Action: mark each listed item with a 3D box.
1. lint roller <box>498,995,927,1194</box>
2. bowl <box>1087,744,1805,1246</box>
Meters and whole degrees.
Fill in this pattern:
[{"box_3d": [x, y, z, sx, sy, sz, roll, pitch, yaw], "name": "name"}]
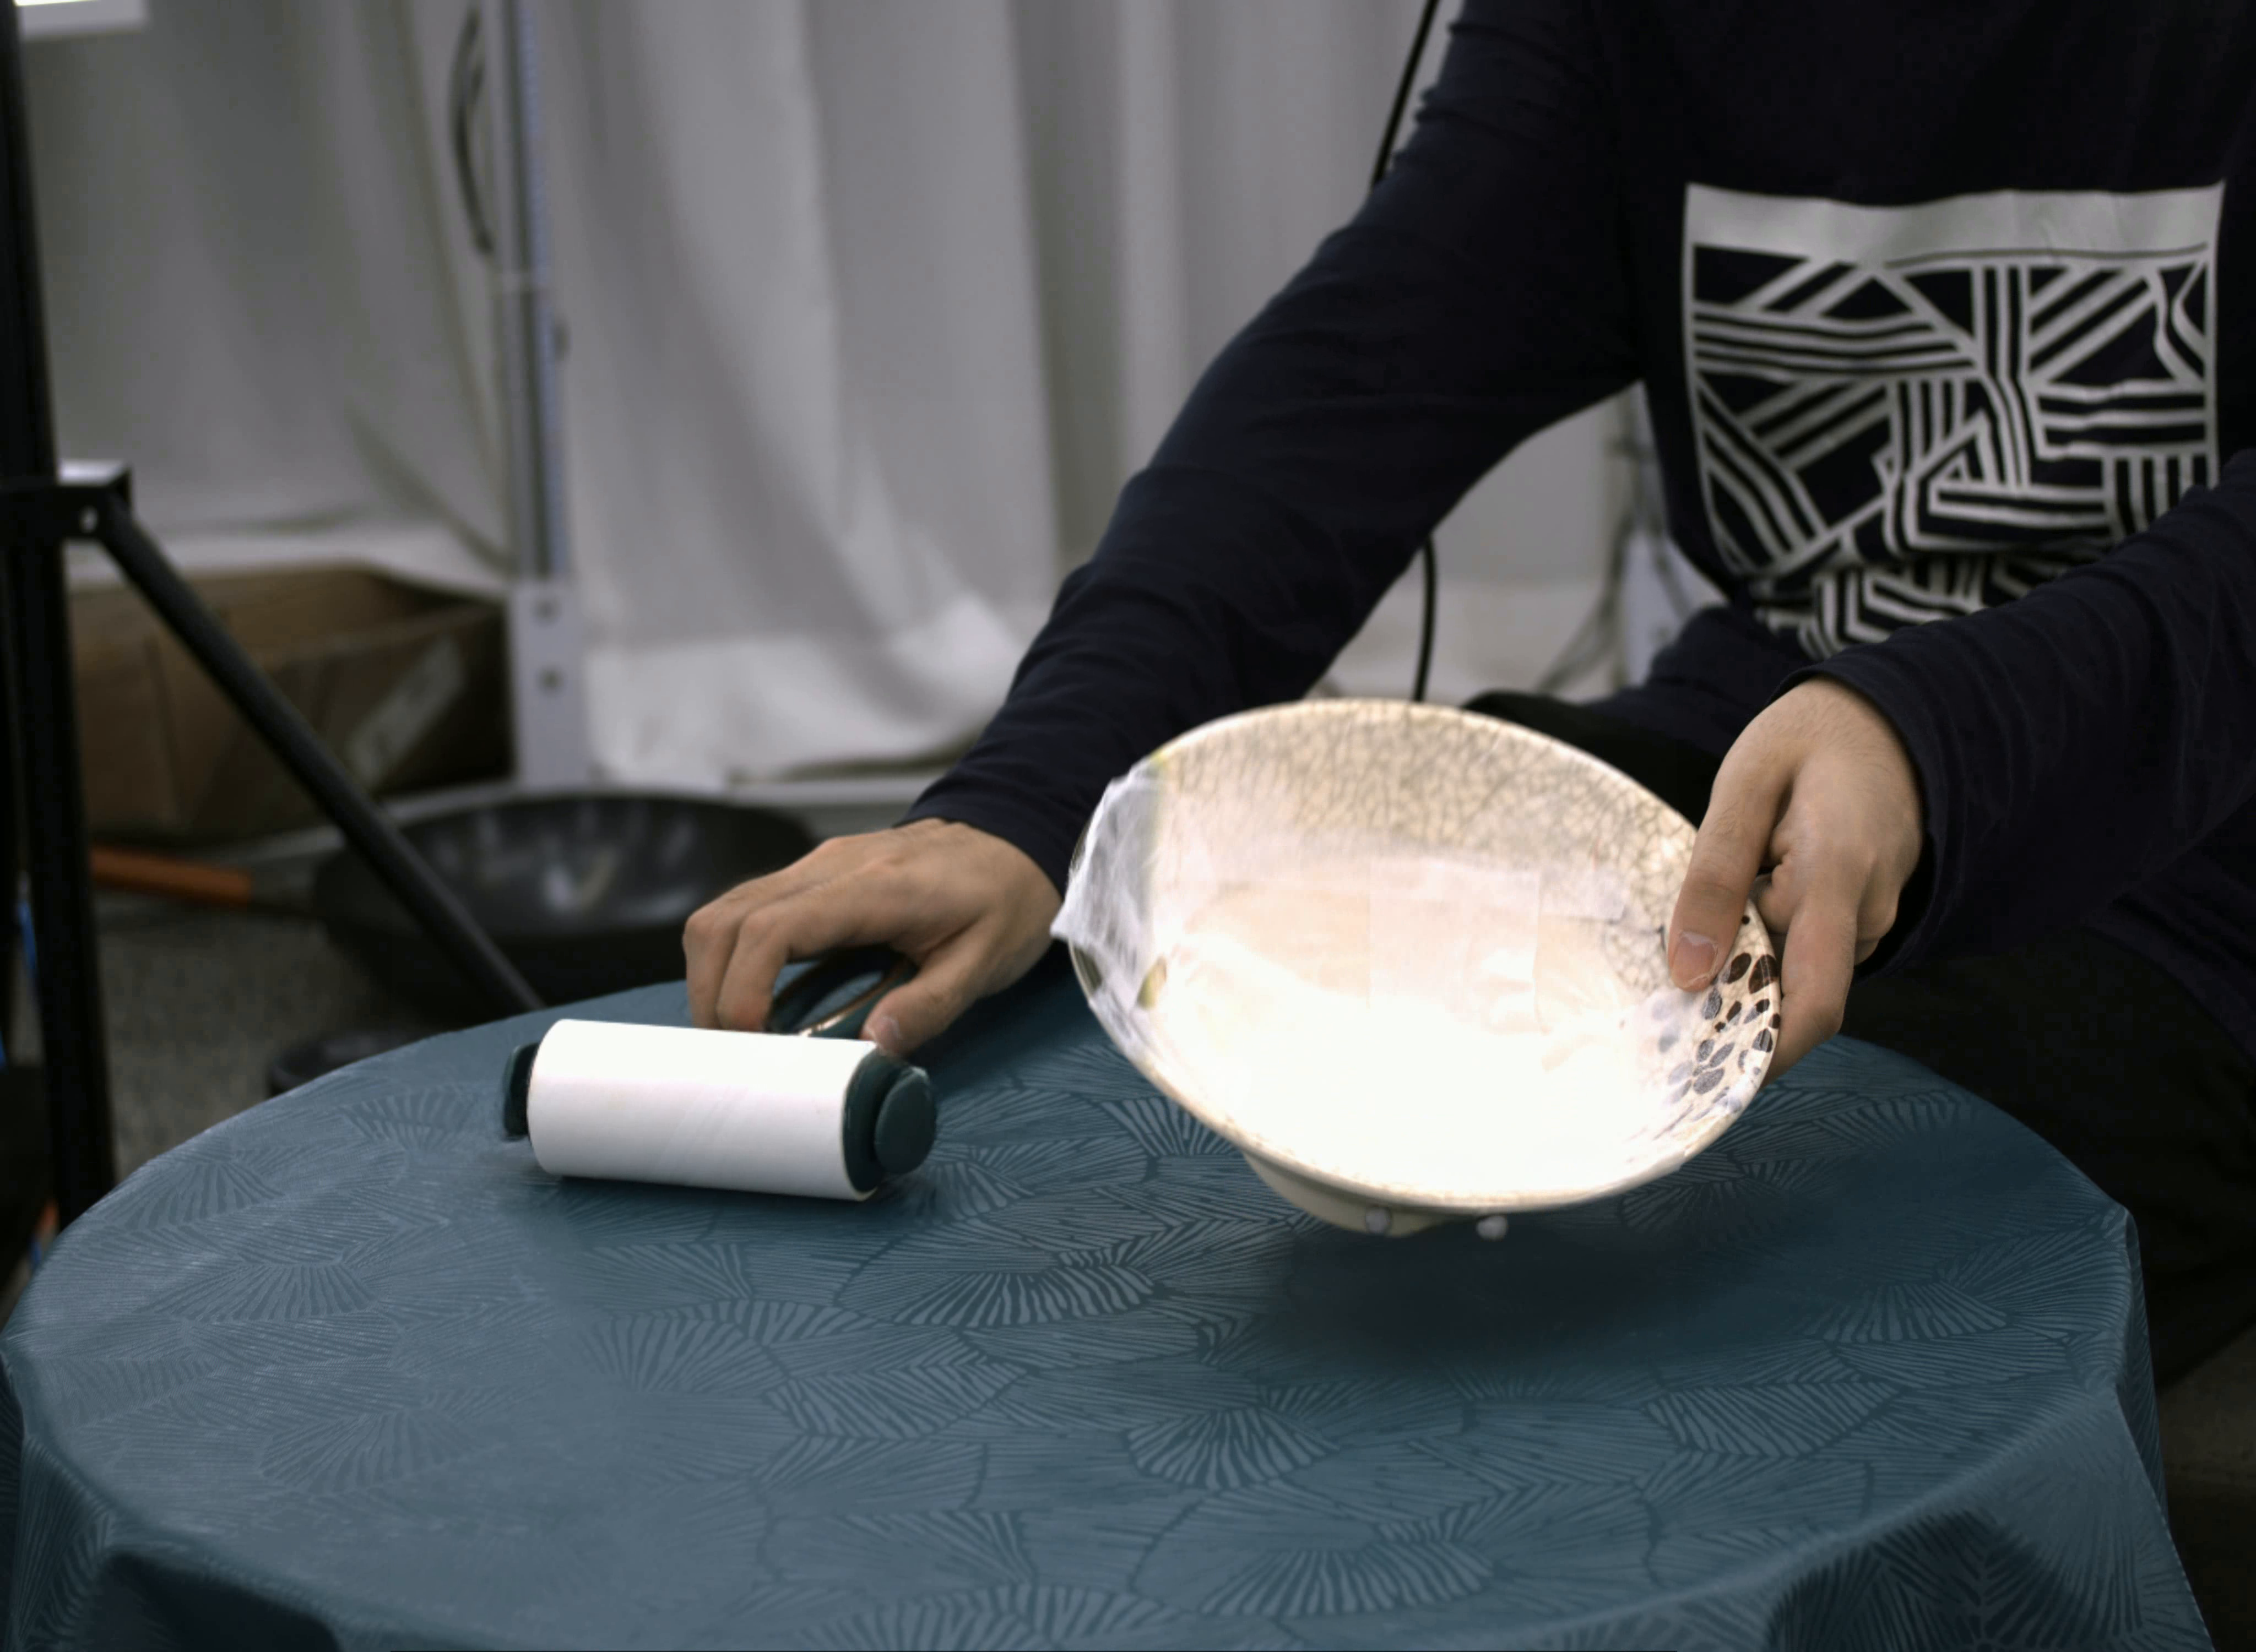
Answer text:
[{"box_3d": [-0.103, 0.063, 1.639, 0.136, 0.048, 0.178, 3, 18, 19], "name": "lint roller"}, {"box_3d": [0.083, 0.062, 1.492, 0.202, 0.078, 0.206, 6, 30, -5], "name": "bowl"}]
